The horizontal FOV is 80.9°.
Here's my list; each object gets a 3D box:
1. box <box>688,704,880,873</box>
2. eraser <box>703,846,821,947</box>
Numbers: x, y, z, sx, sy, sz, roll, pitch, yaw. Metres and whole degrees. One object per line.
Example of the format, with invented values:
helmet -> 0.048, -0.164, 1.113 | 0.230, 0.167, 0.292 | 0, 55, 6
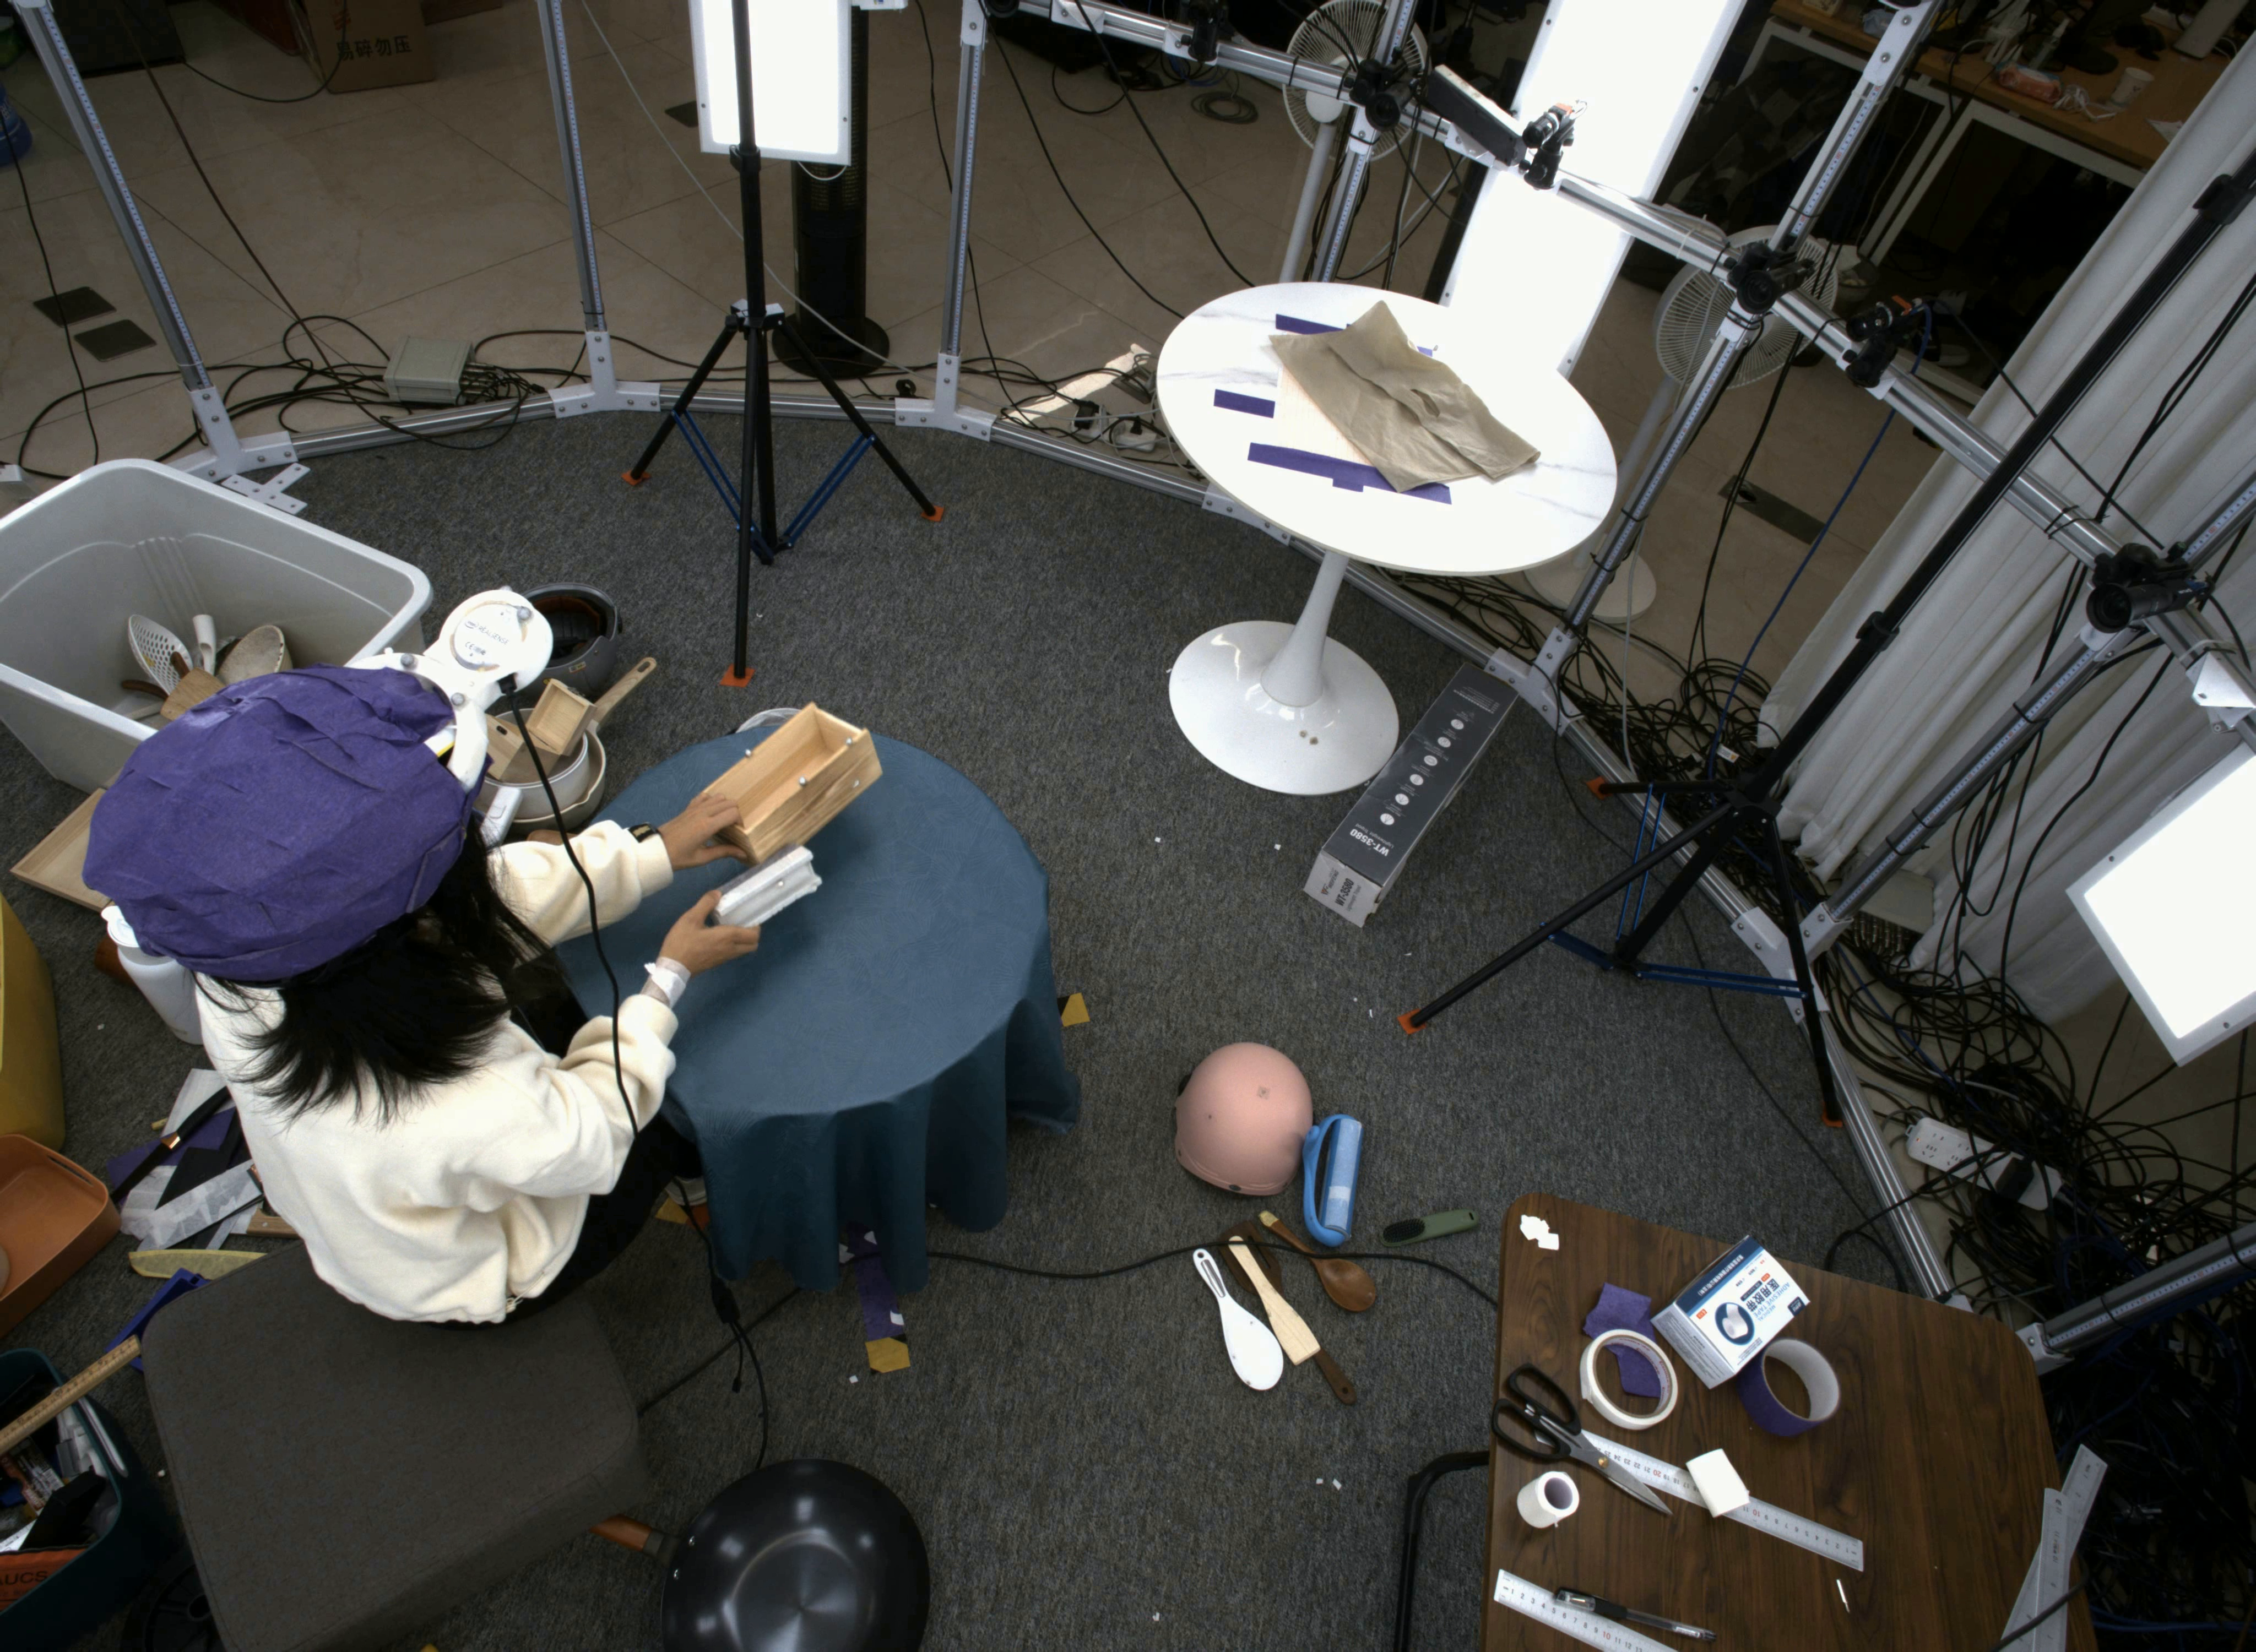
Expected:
box -> -0.427, -0.048, 1.619 | 0.104, 0.083, 0.211 | 24, 53, 26
eraser -> -0.438, 0.079, 1.546 | 0.045, 0.051, 0.134 | 24, 50, 36
